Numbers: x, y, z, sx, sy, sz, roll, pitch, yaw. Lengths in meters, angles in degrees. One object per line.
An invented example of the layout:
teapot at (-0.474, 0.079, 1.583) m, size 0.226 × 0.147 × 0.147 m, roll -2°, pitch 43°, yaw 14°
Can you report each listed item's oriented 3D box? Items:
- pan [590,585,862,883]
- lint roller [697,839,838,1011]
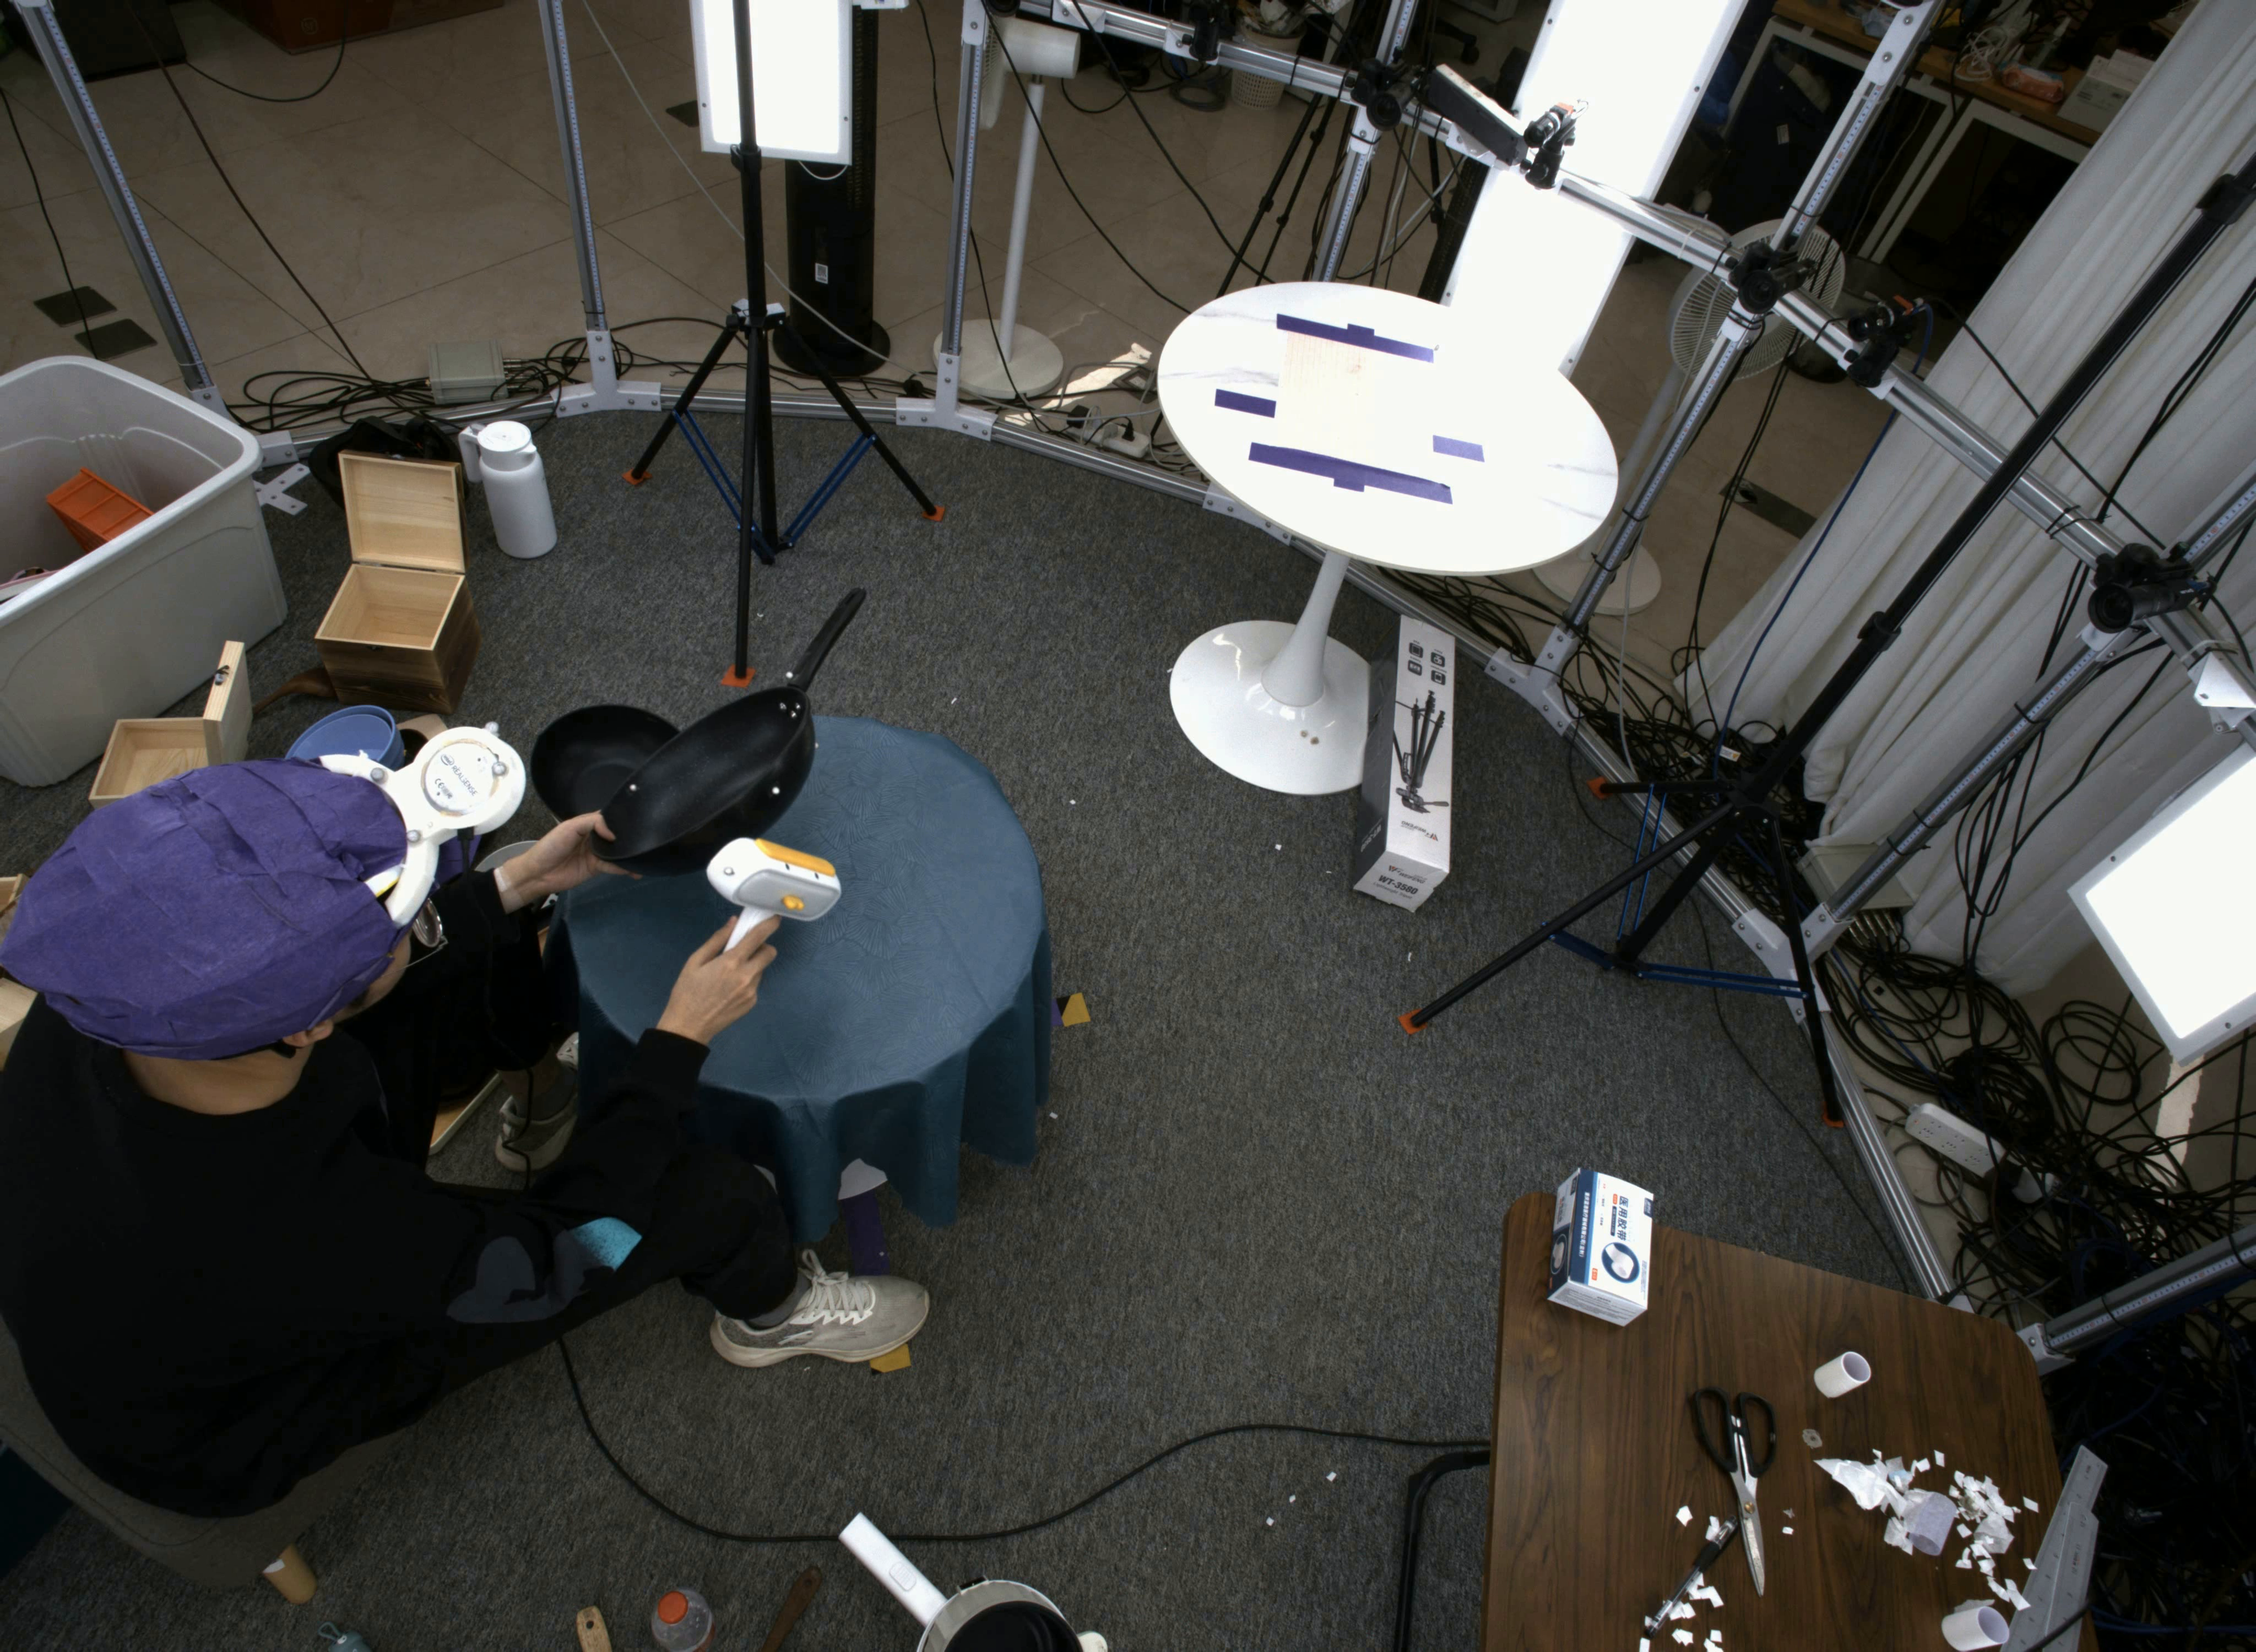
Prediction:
pan at (-0.454, -0.102, 1.570) m, size 0.299 × 0.116 × 0.476 m, roll 7°, pitch 49°, yaw 43°
lint roller at (-0.420, 0.110, 1.429) m, size 0.072 × 0.196 × 0.193 m, roll 38°, pitch 97°, yaw 19°
